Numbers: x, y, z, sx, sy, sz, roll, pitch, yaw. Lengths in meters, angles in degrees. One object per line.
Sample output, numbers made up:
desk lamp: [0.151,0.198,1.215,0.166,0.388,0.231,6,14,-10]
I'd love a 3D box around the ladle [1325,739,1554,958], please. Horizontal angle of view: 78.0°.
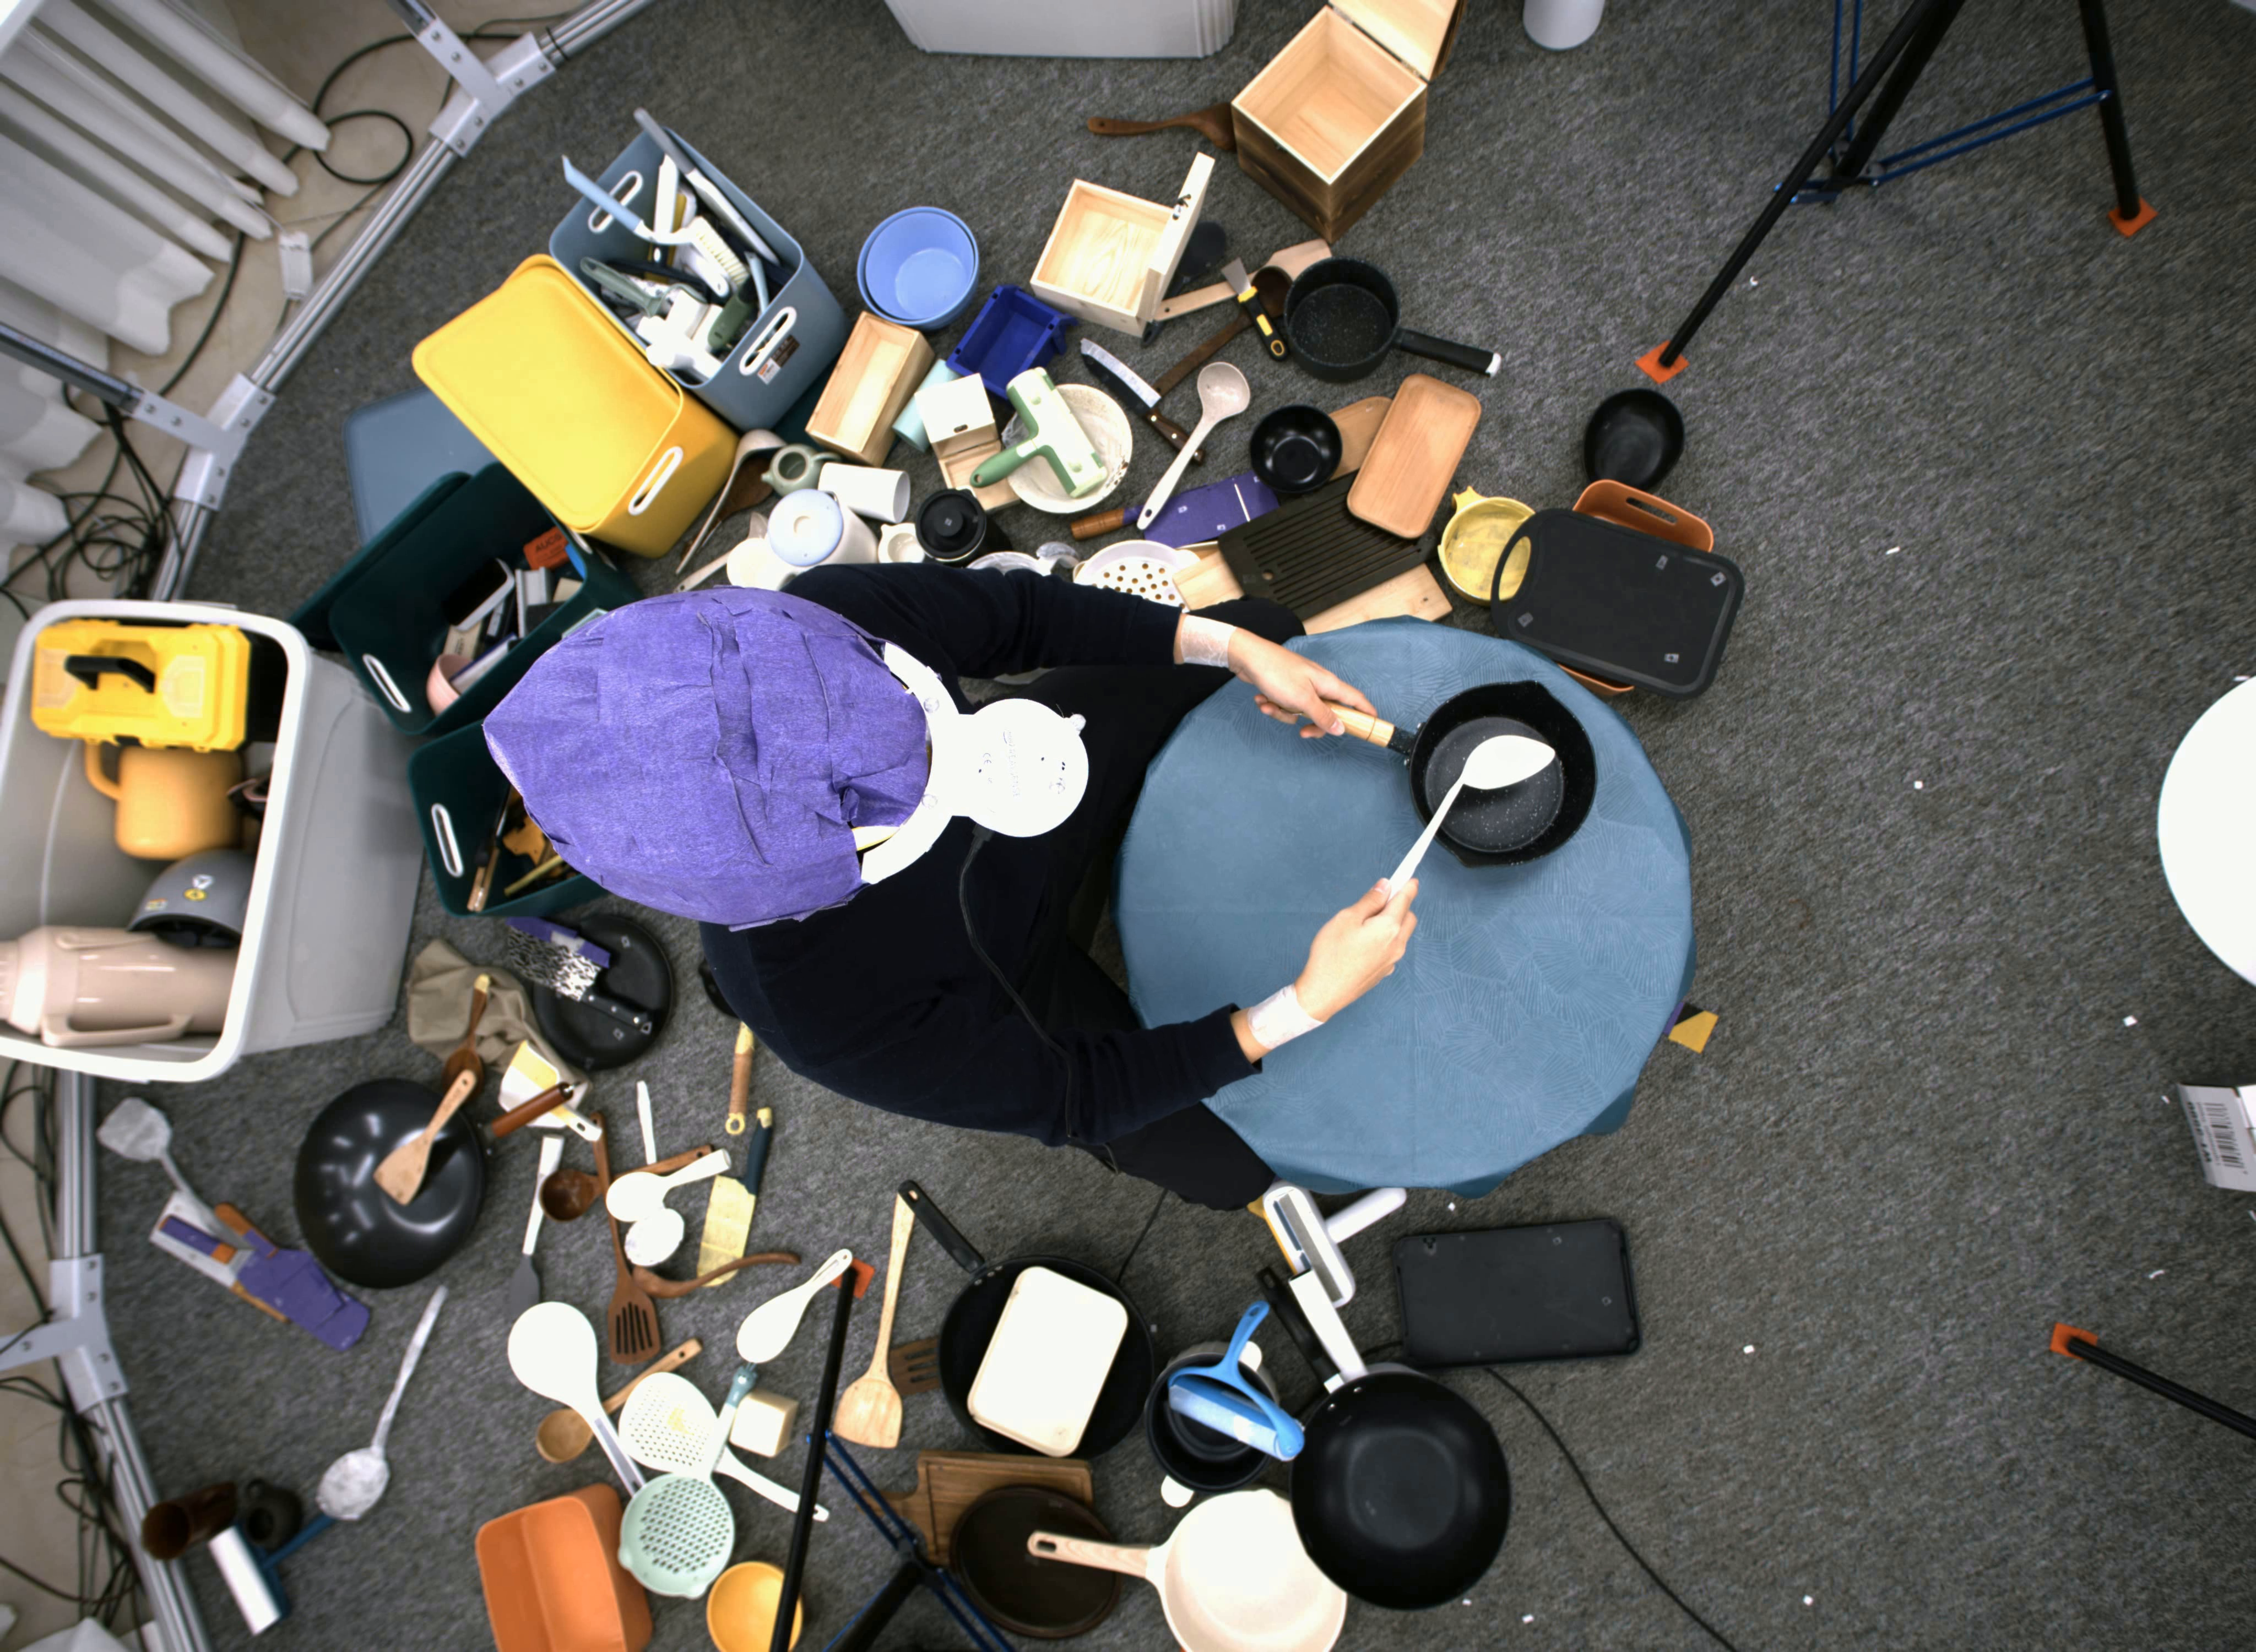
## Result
ladle: [0.295,0.020,1.305,0.070,0.091,0.288,41,71,-1]

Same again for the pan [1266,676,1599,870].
pan: [0.303,-0.076,1.405,0.343,0.108,0.207,19,91,9]
